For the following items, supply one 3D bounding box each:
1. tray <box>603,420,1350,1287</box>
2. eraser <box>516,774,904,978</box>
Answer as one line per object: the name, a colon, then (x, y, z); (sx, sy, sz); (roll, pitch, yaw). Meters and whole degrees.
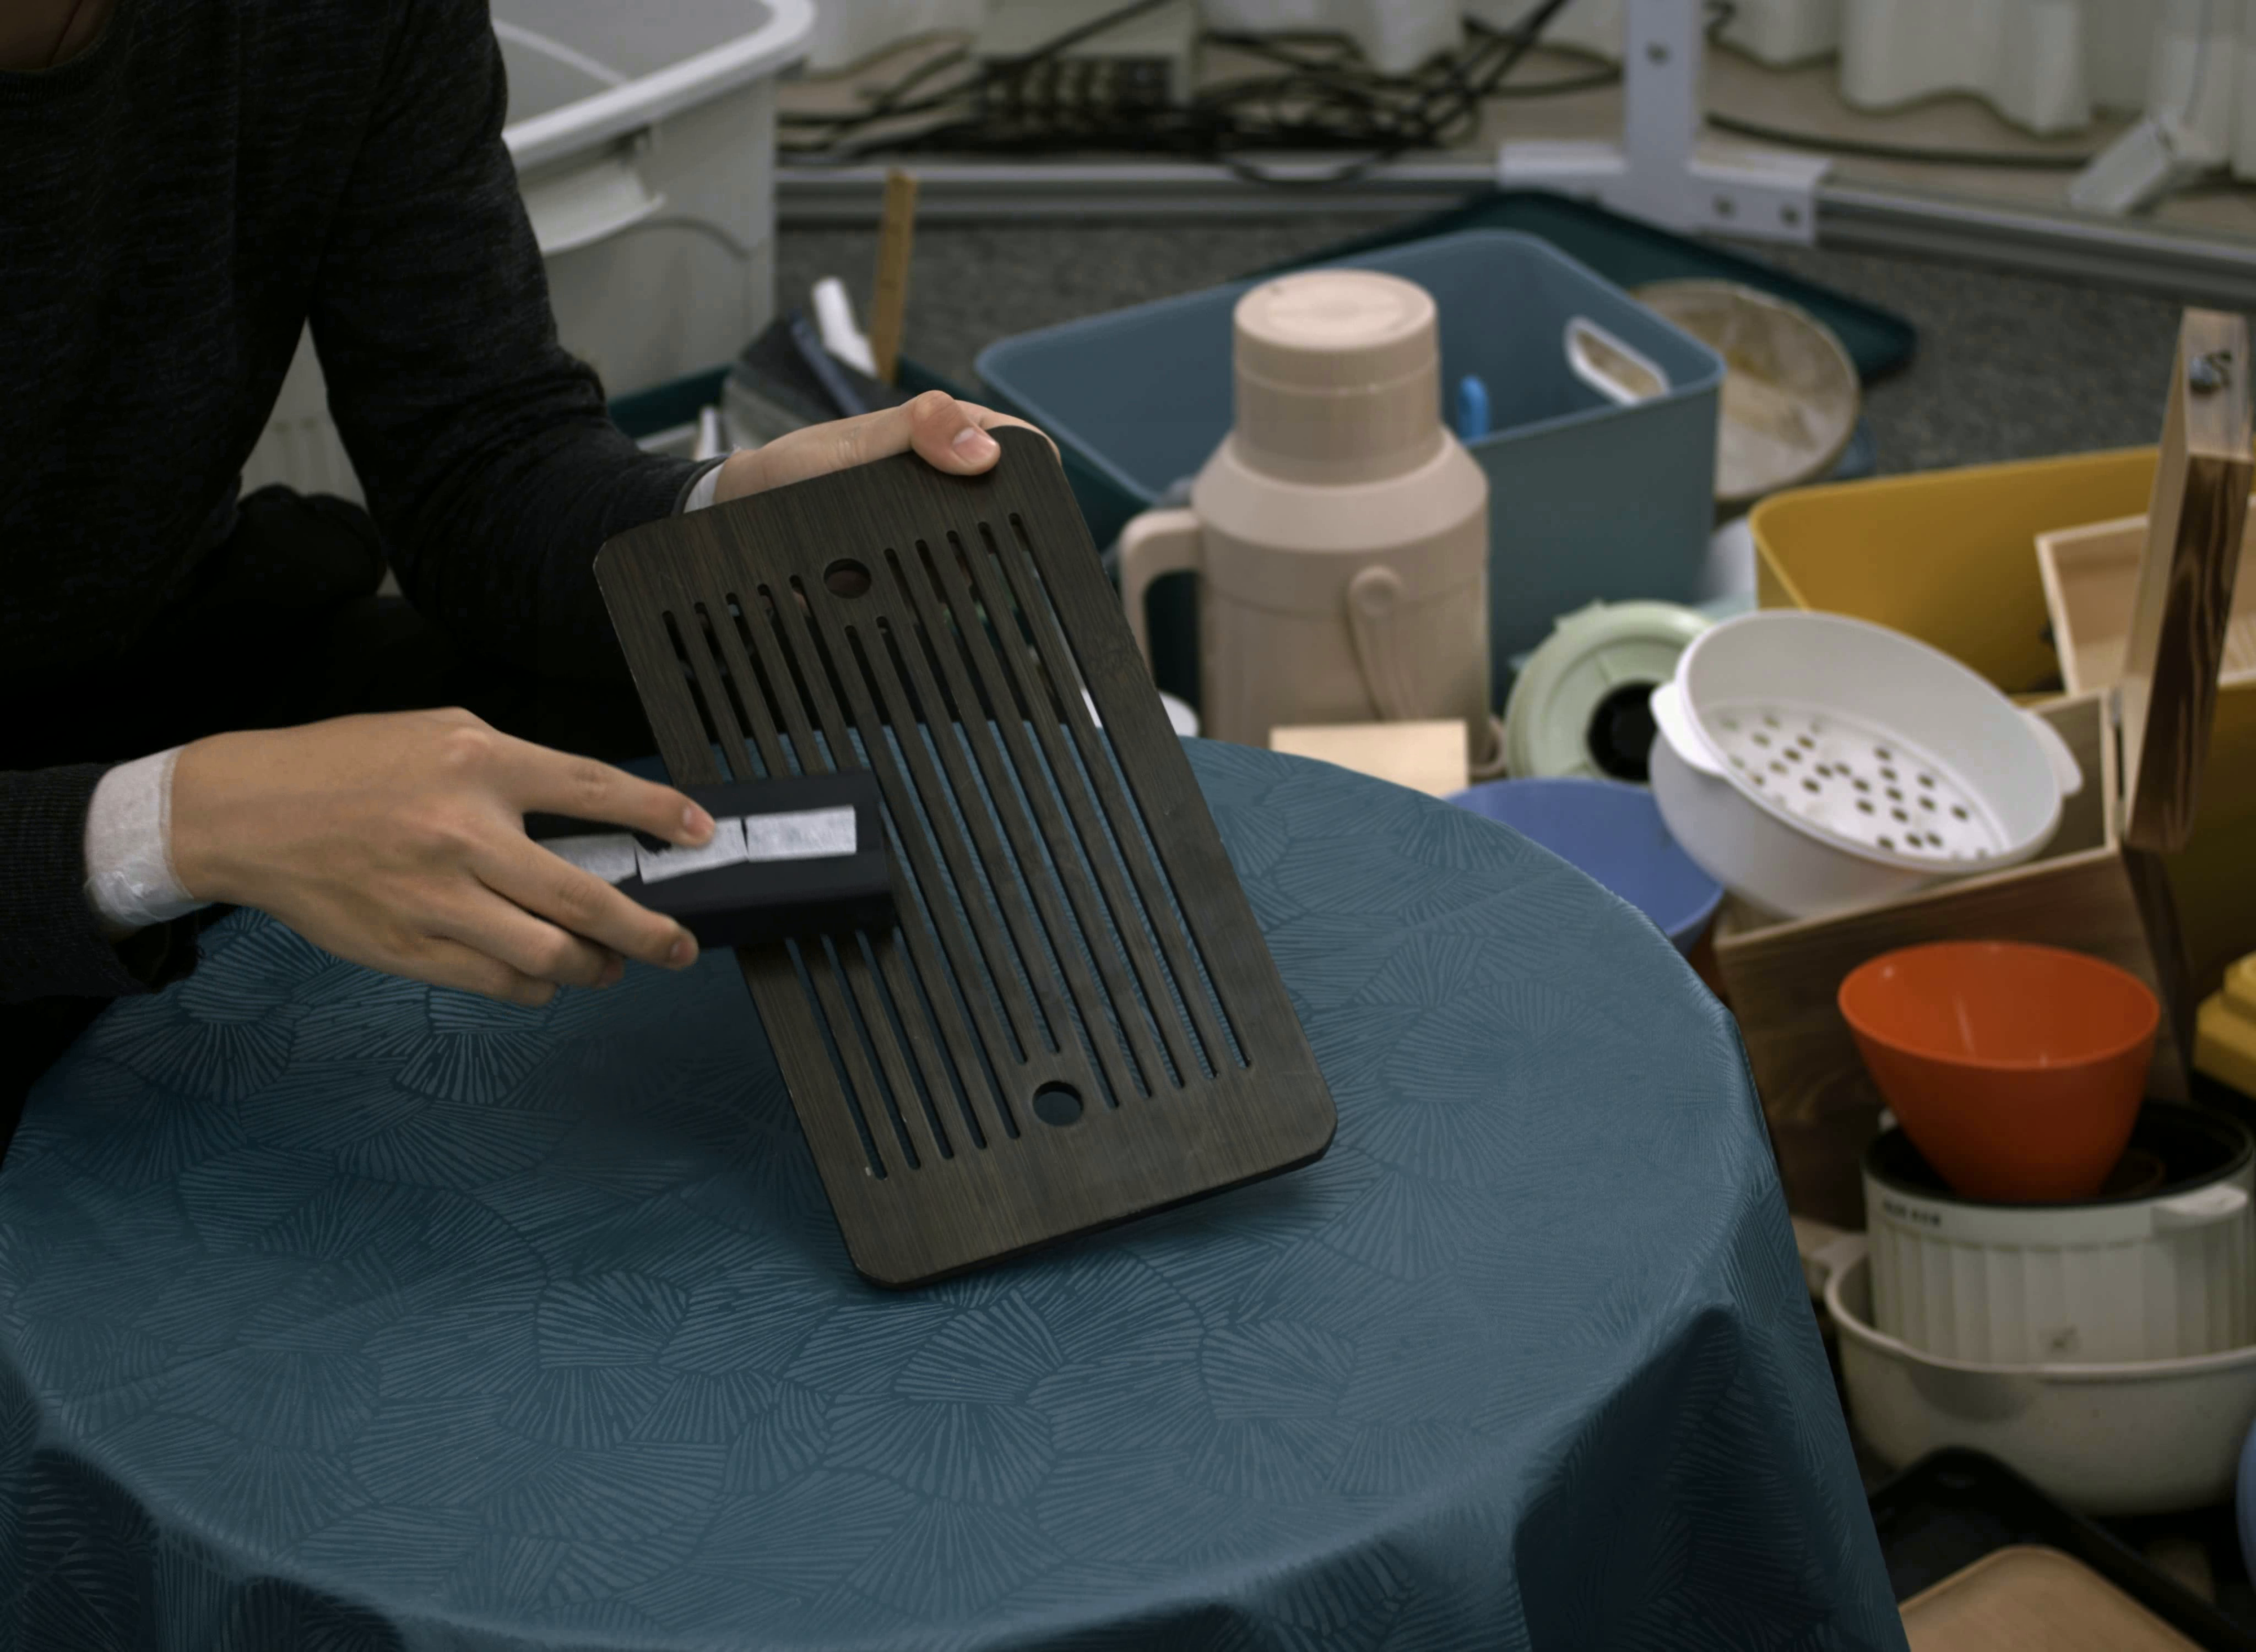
tray: (-0.055, 0.005, 1.903); (0.170, 0.018, 0.310); (-16, 60, -13)
eraser: (-0.139, 0.016, 1.867); (0.125, 0.030, 0.054); (-7, 57, -6)
